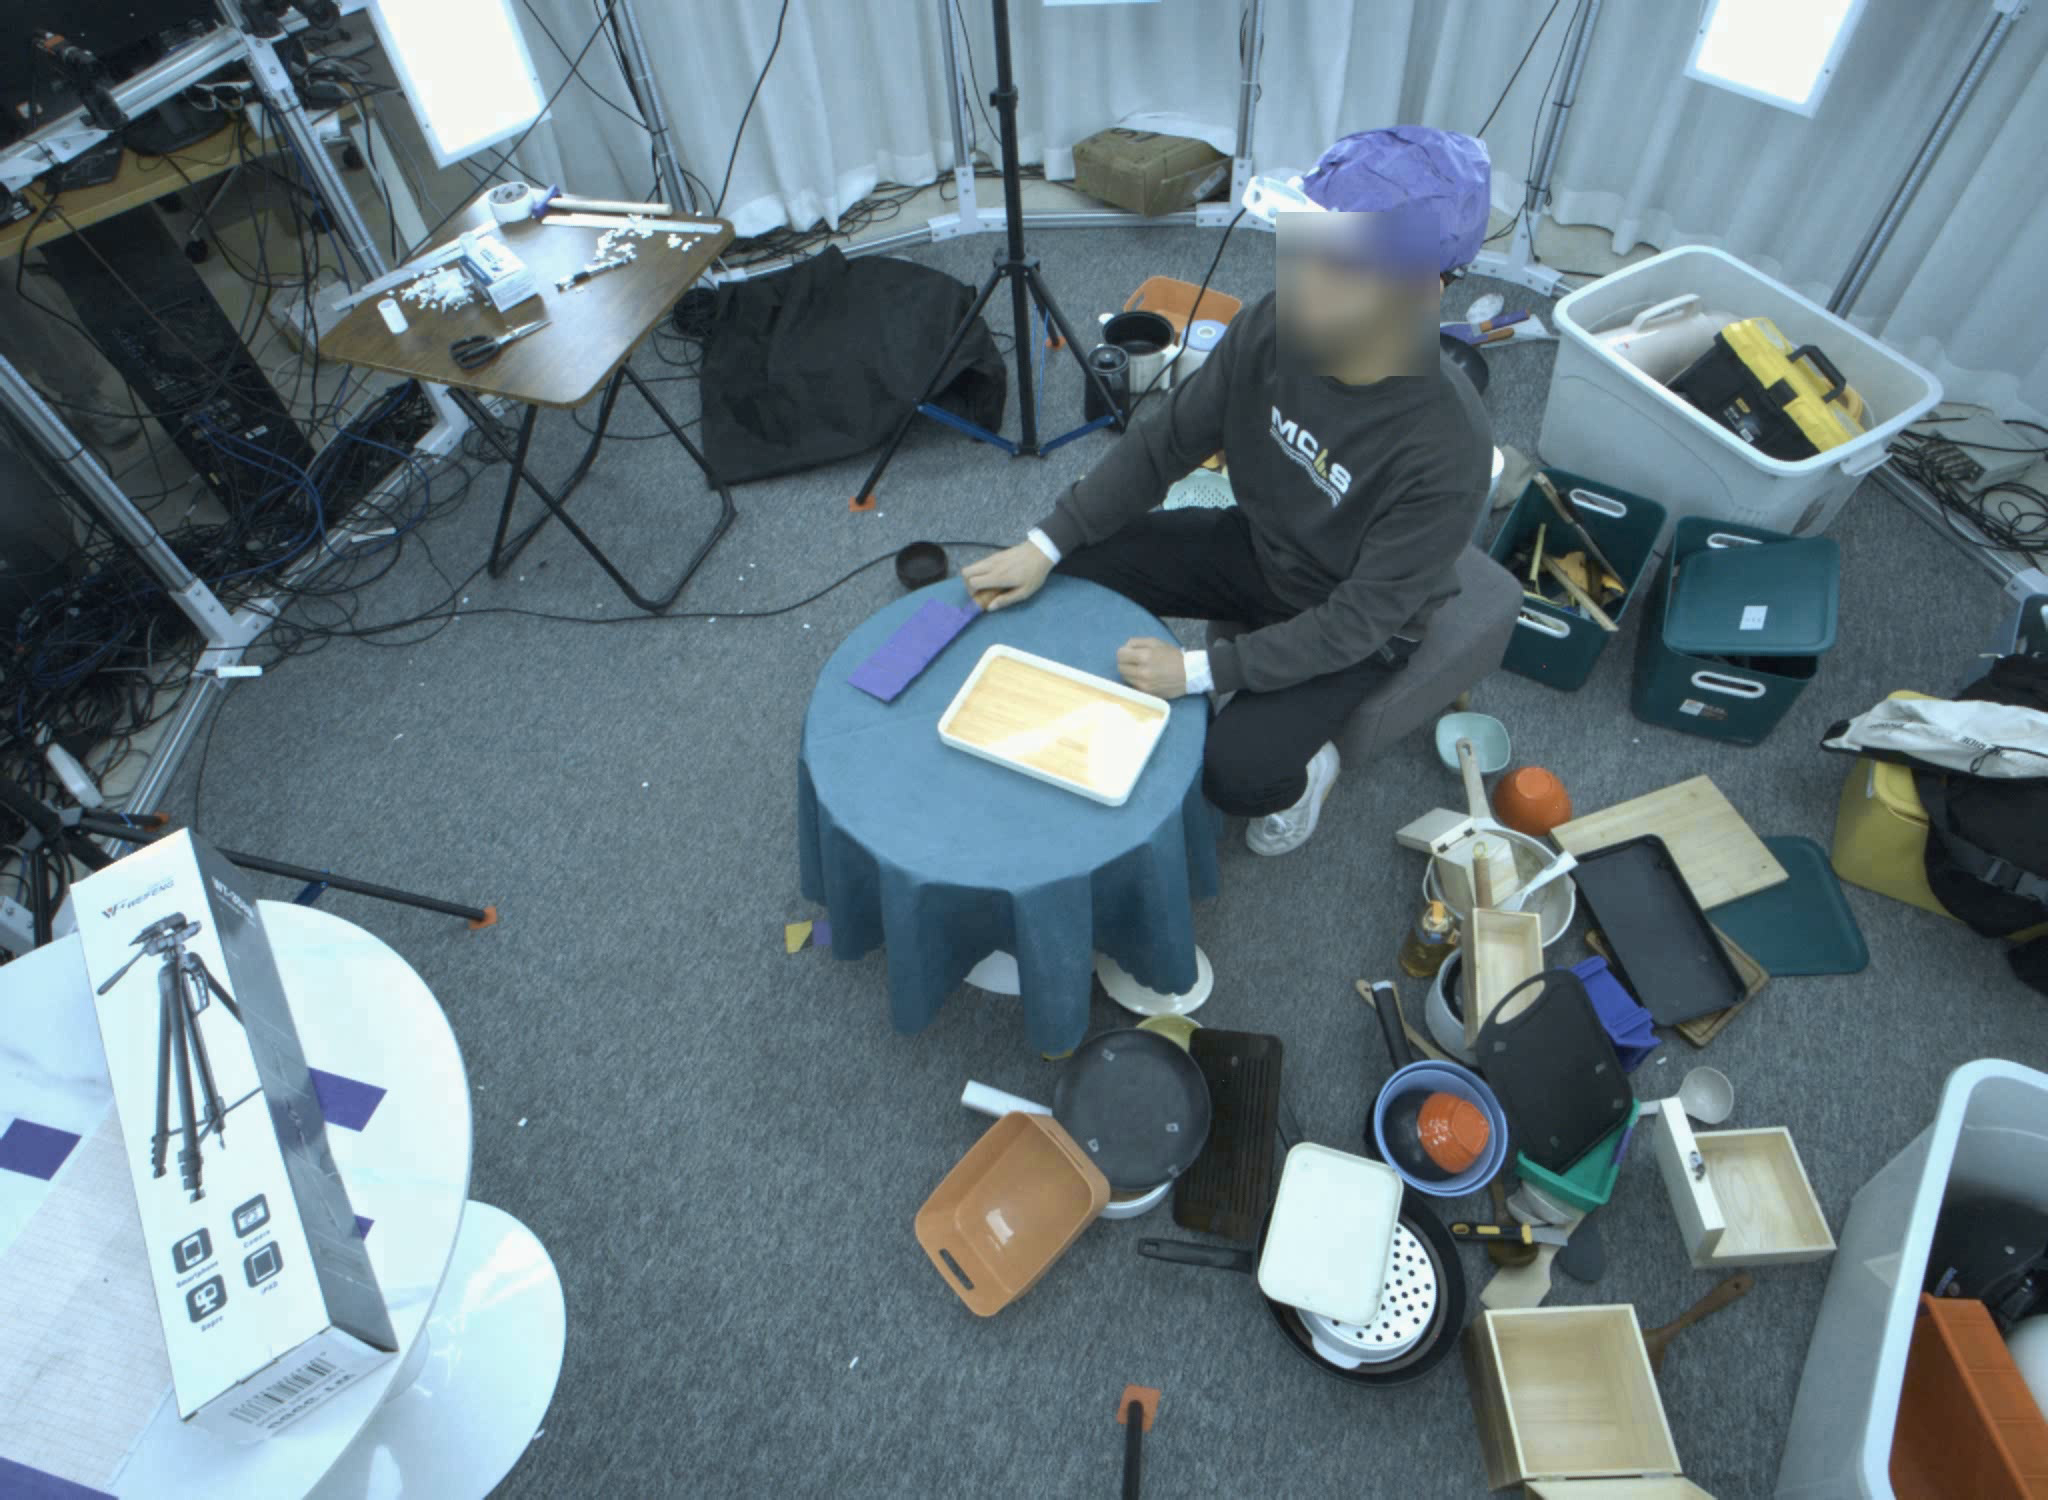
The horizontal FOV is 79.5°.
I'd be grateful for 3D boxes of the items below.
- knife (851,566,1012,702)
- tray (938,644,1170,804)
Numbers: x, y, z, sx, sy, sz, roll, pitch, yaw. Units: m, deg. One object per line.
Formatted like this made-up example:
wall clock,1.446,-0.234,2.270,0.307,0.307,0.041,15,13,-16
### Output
knife,-0.146,-0.195,1.922,0.102,0.032,0.317,27,58,26
tray,0.044,-0.043,1.808,0.297,0.028,0.192,21,57,15
